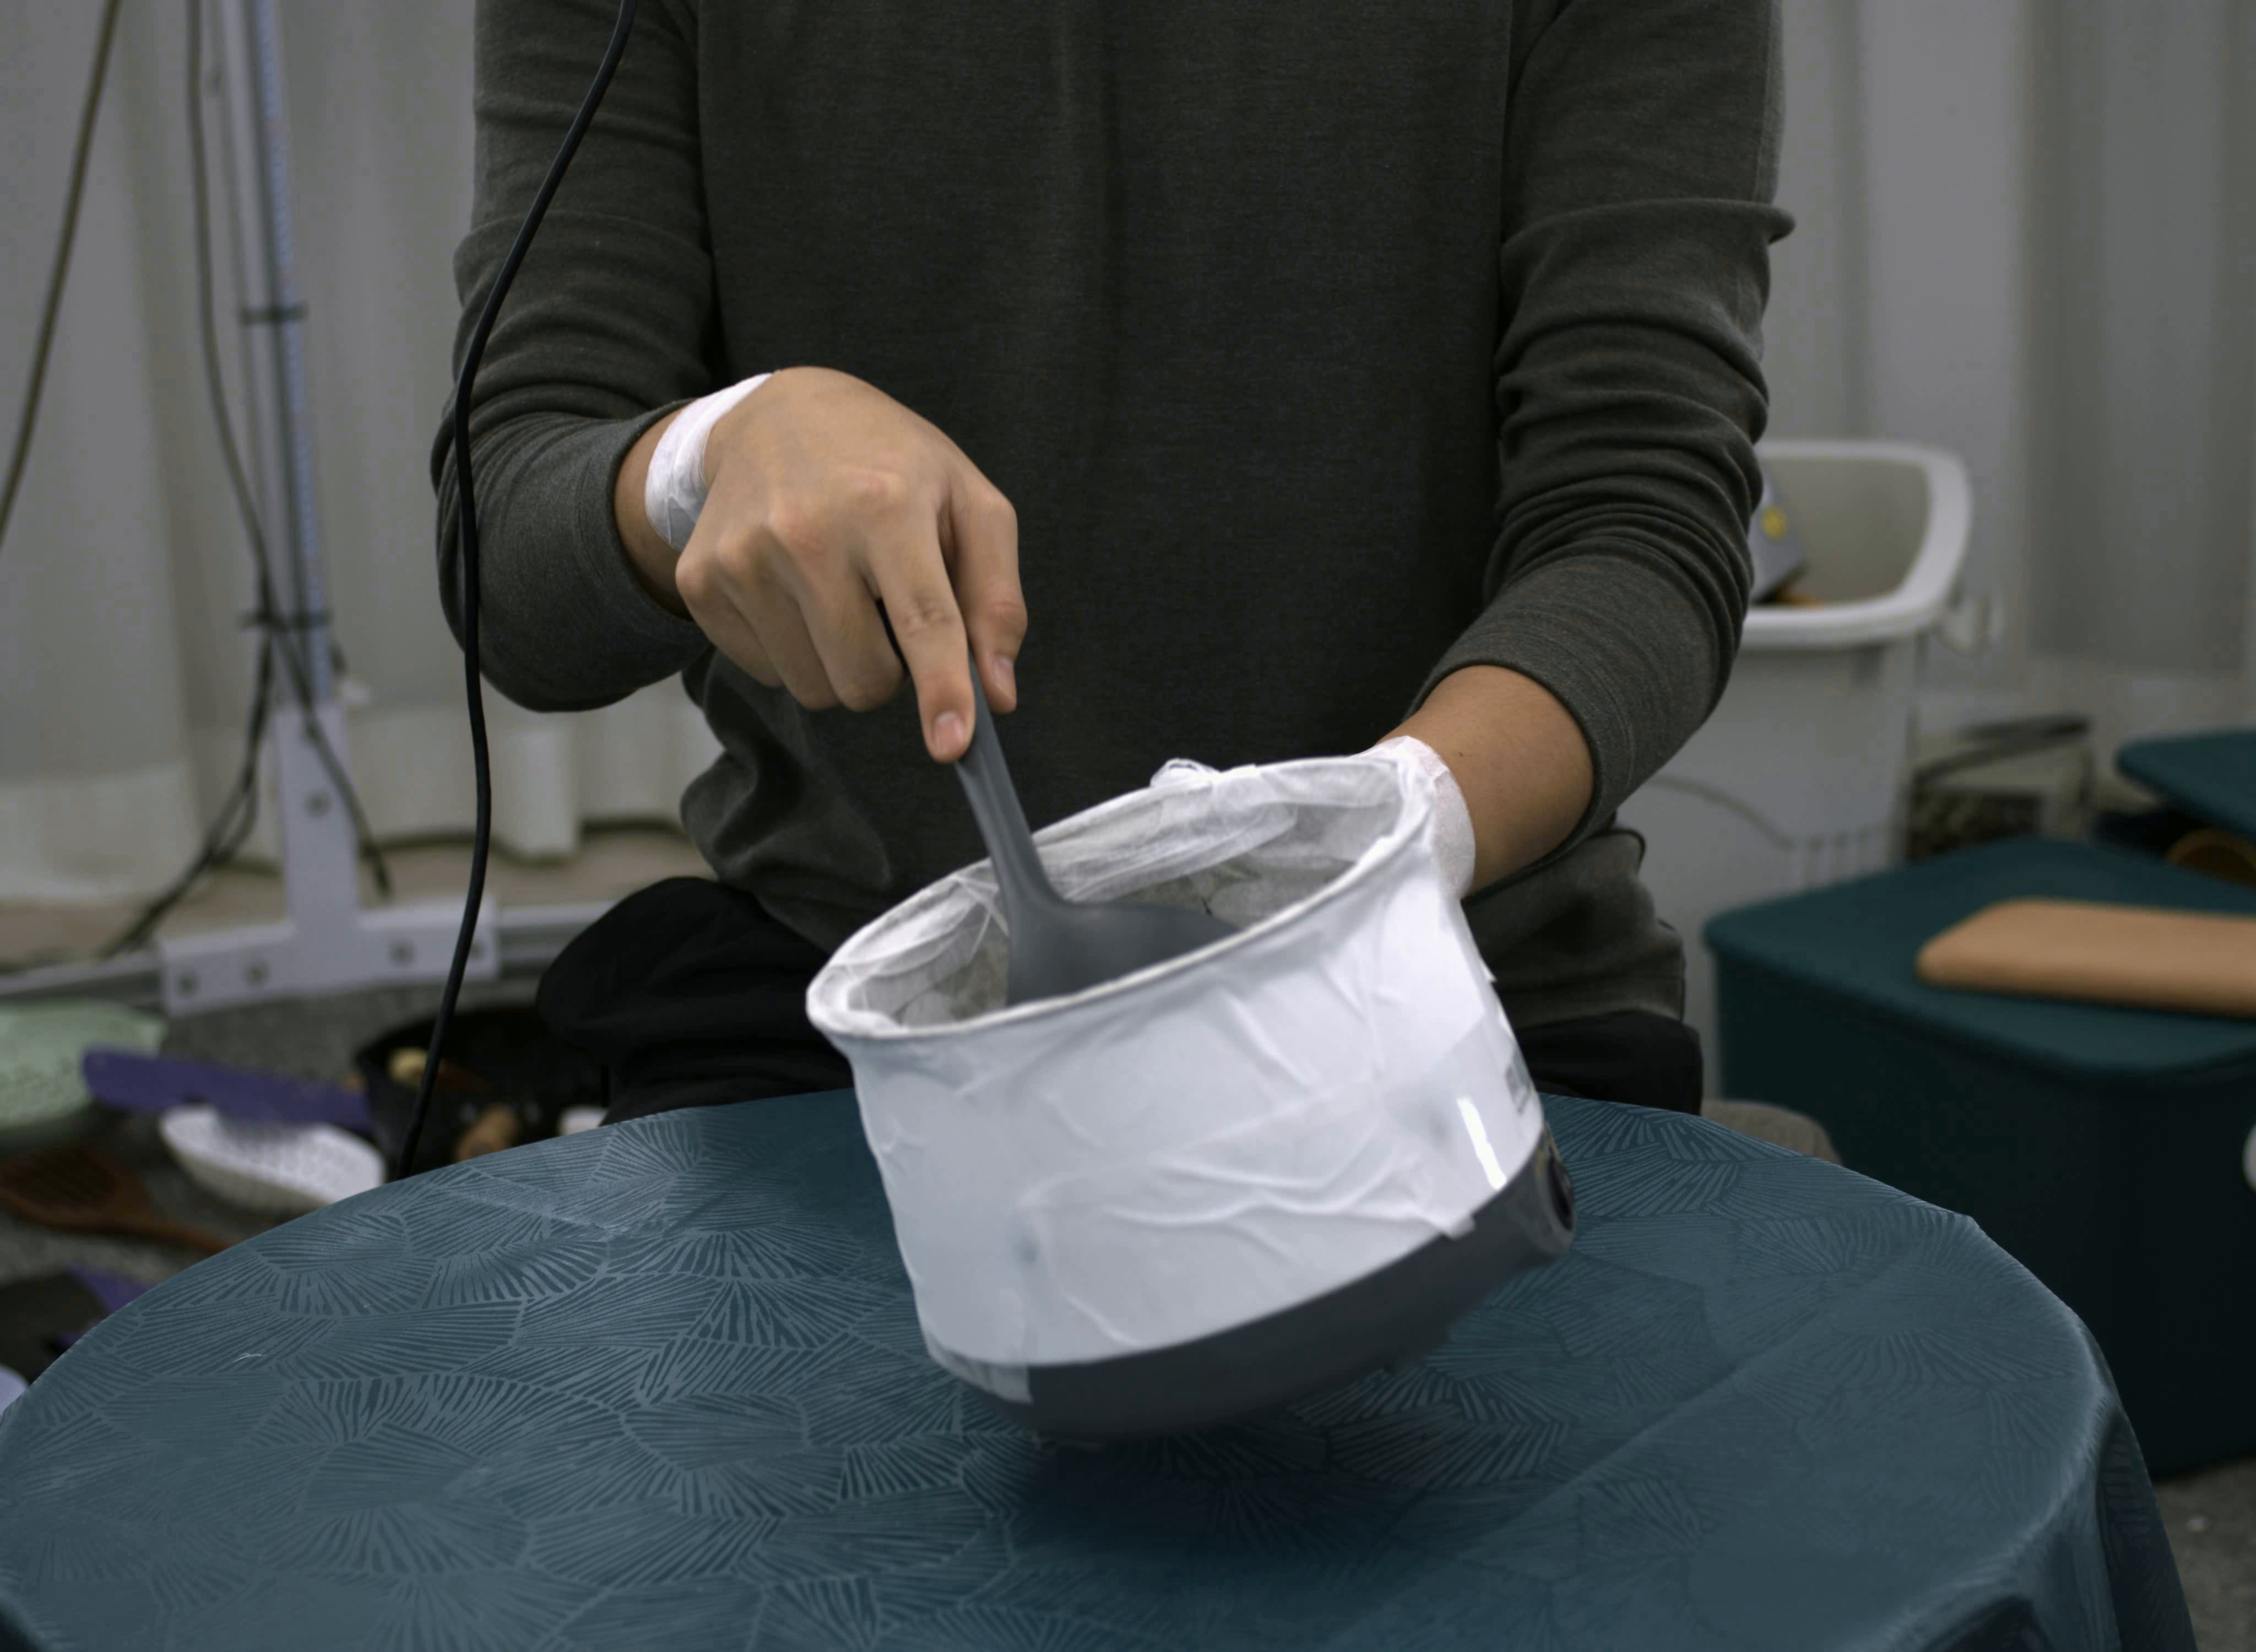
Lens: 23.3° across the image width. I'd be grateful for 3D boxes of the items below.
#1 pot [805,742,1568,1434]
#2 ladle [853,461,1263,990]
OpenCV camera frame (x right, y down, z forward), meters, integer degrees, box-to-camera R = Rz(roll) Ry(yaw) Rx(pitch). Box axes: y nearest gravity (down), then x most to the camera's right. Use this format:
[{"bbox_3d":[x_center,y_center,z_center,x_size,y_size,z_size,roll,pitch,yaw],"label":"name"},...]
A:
[{"bbox_3d":[0.021,0.063,1.498,0.178,0.136,0.235,-15,15,13],"label":"pot"},{"bbox_3d":[-0.025,-0.017,1.581,0.063,0.086,0.318,39,14,-32],"label":"ladle"}]
